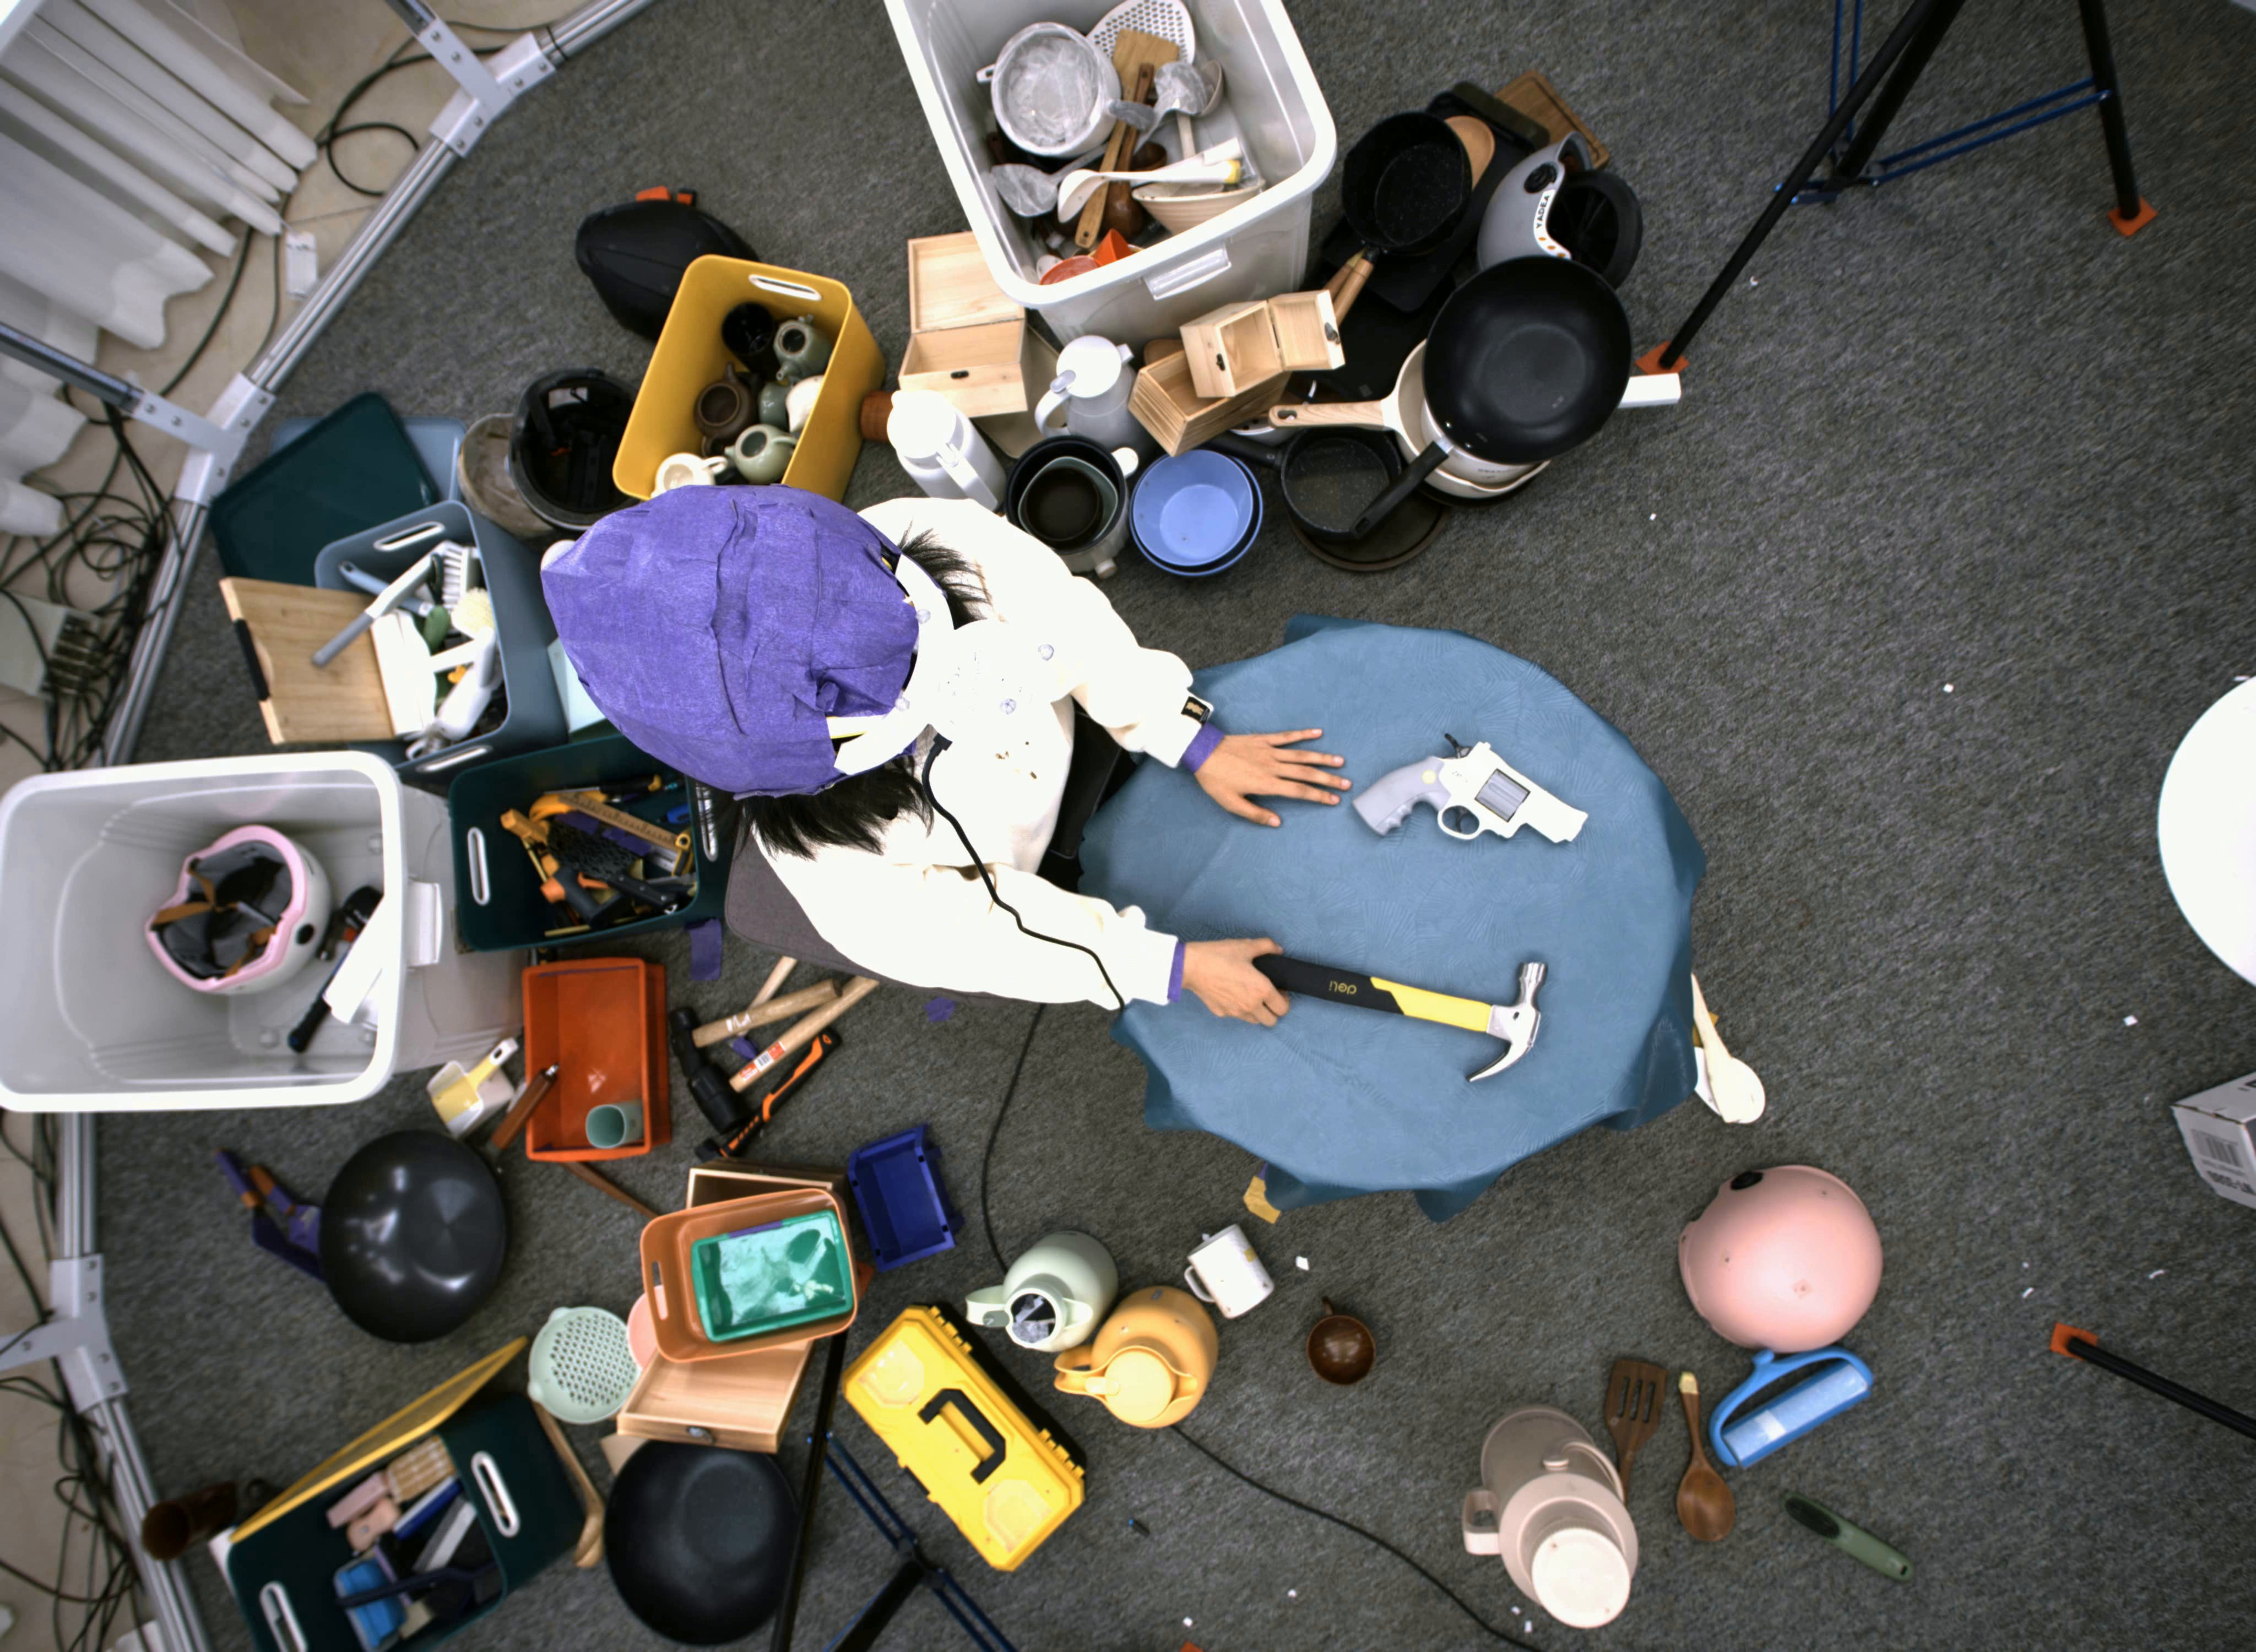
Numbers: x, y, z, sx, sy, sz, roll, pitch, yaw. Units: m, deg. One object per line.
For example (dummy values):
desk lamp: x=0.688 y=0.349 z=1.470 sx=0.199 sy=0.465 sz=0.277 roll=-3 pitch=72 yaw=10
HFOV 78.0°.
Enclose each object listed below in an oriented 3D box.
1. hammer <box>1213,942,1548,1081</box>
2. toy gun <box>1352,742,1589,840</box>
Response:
hammer: x=0.255 y=0.173 z=1.436 sx=0.339 sy=0.032 sz=0.131 roll=12 pitch=91 yaw=9
toy gun: x=0.353 y=-0.016 z=1.430 sx=0.208 sy=0.039 sz=0.142 roll=34 pitch=93 yaw=10
